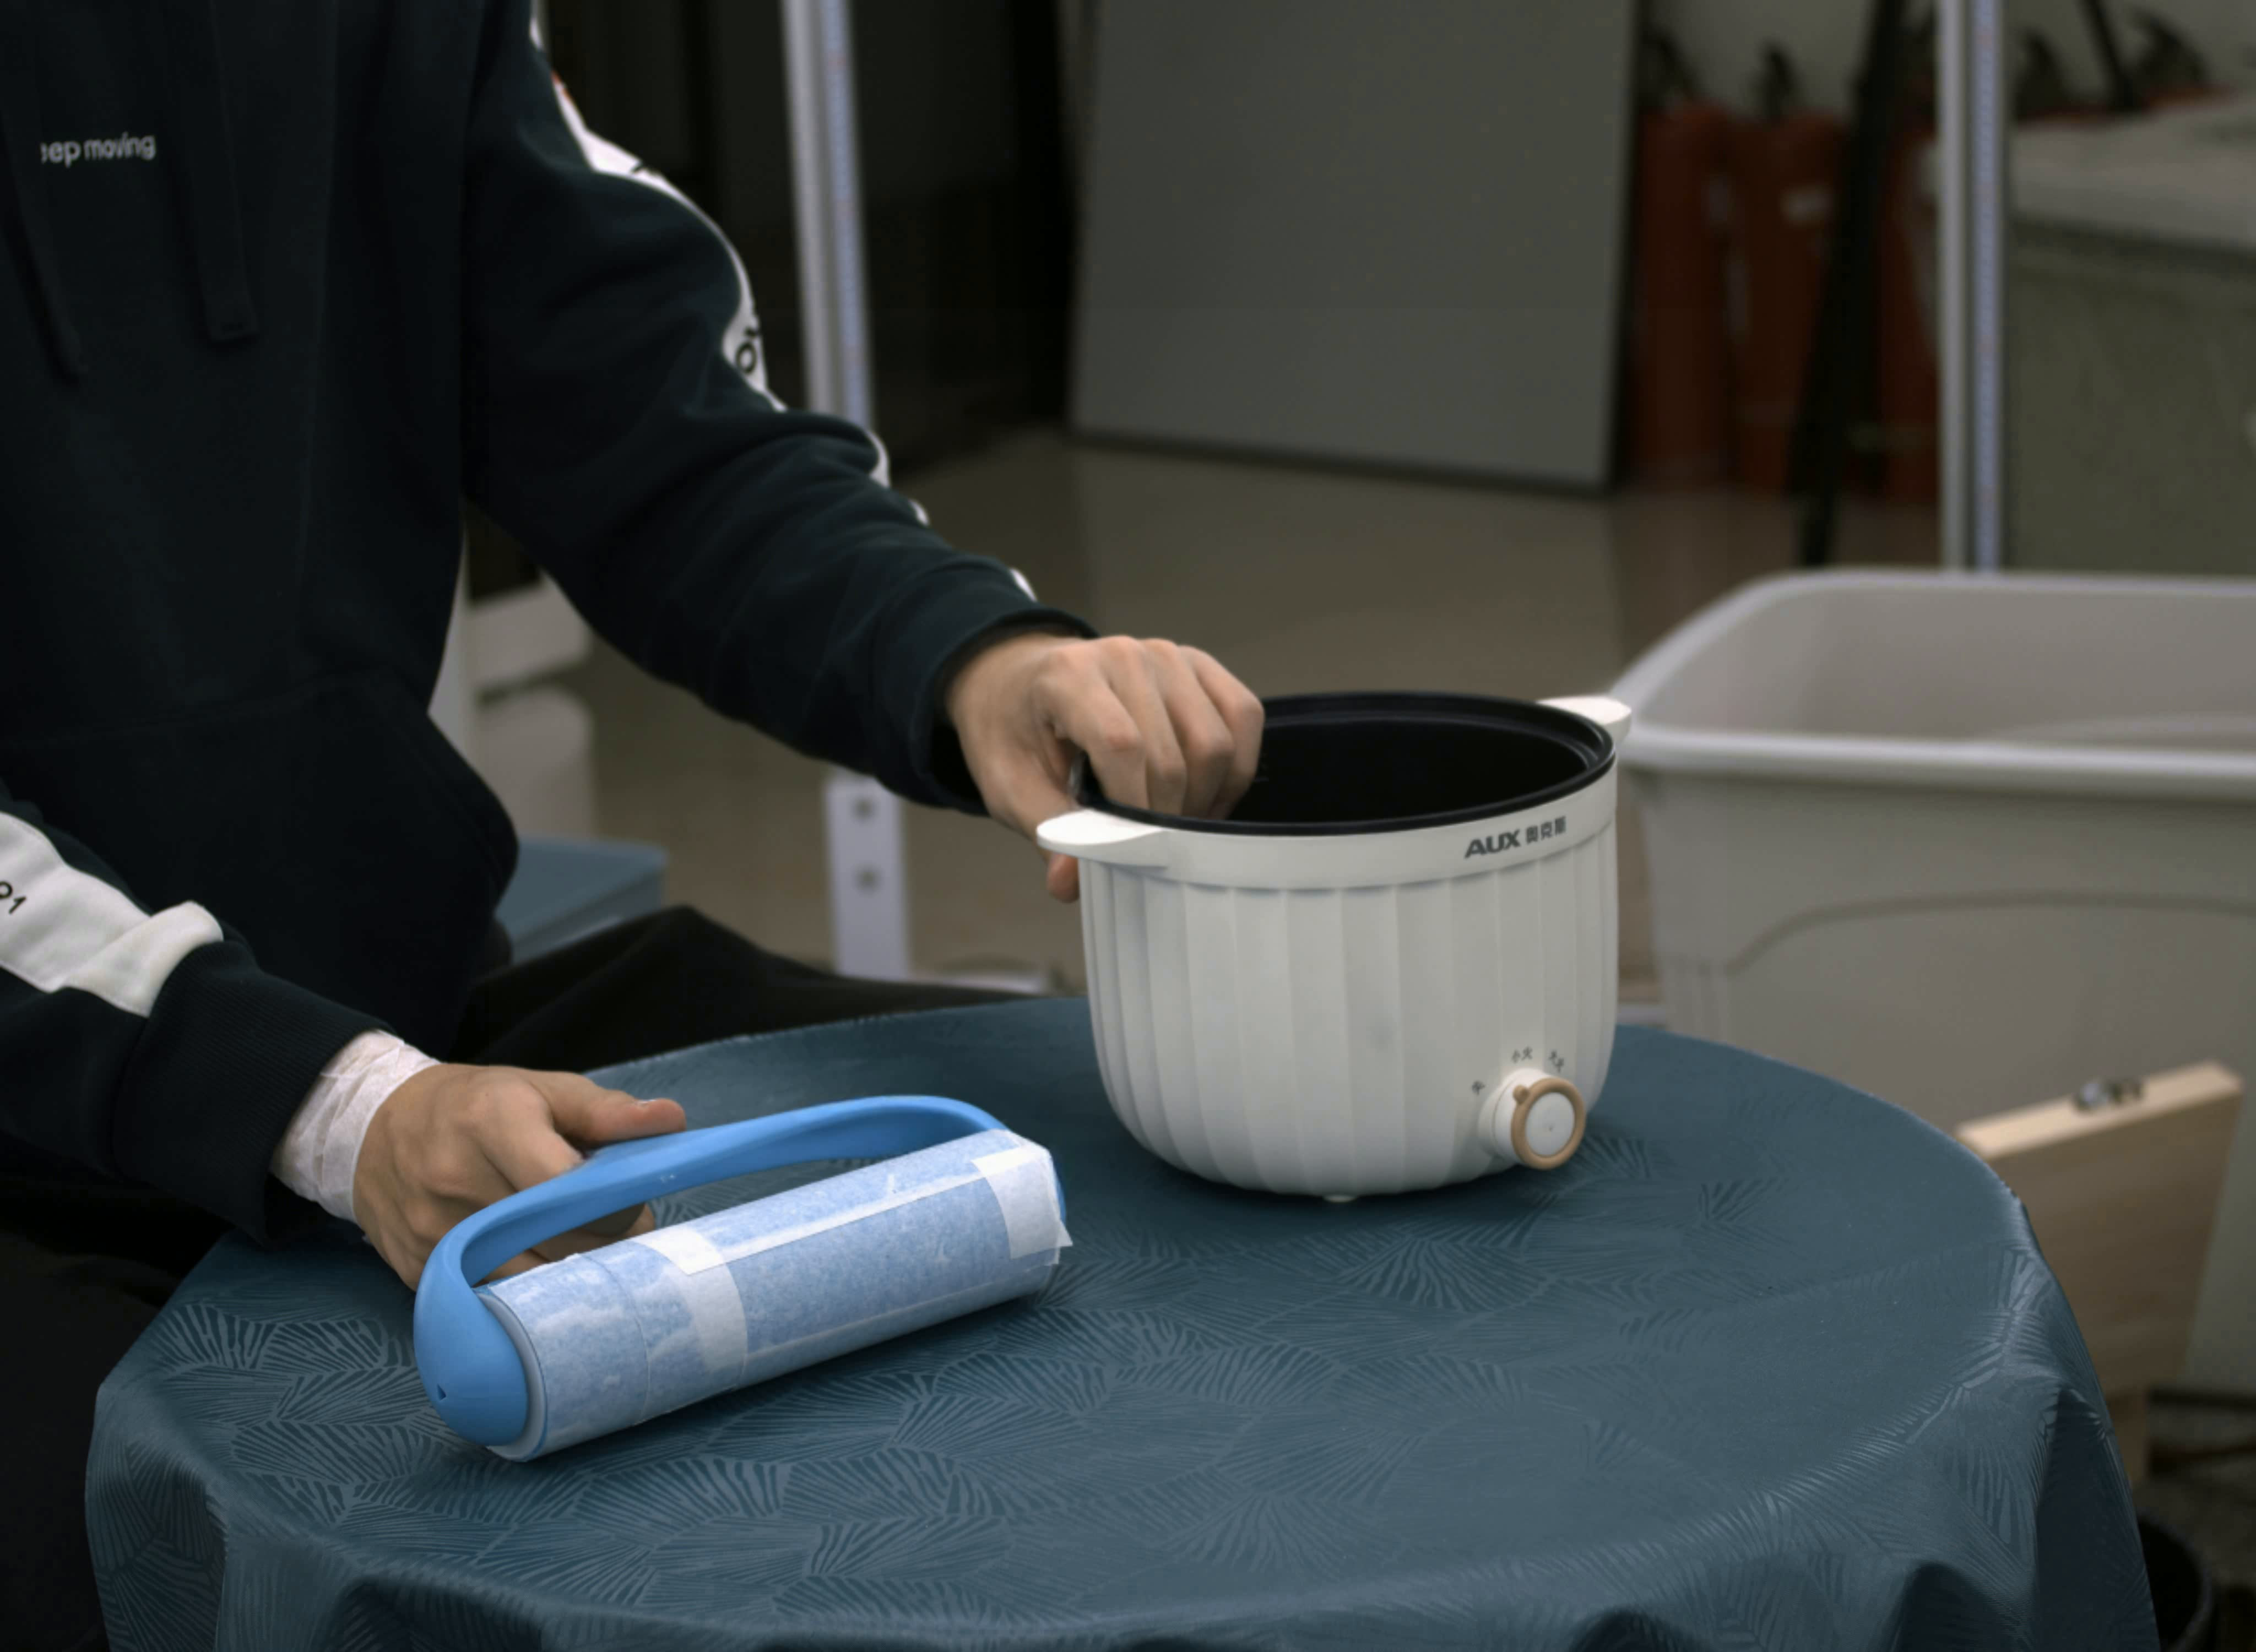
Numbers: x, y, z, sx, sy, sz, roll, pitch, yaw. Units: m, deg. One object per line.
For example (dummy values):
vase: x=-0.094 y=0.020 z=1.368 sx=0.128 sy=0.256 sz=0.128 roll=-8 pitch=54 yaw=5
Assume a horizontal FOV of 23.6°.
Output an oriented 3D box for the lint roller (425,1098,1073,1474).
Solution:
lint roller: x=-0.148 y=0.130 z=1.660 sx=0.224 sy=0.068 sz=0.182 roll=-18 pitch=21 yaw=-39

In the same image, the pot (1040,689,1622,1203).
pot: x=0.079 y=0.041 z=1.782 sx=0.235 sy=0.144 sz=0.192 roll=-15 pitch=14 yaw=-34
